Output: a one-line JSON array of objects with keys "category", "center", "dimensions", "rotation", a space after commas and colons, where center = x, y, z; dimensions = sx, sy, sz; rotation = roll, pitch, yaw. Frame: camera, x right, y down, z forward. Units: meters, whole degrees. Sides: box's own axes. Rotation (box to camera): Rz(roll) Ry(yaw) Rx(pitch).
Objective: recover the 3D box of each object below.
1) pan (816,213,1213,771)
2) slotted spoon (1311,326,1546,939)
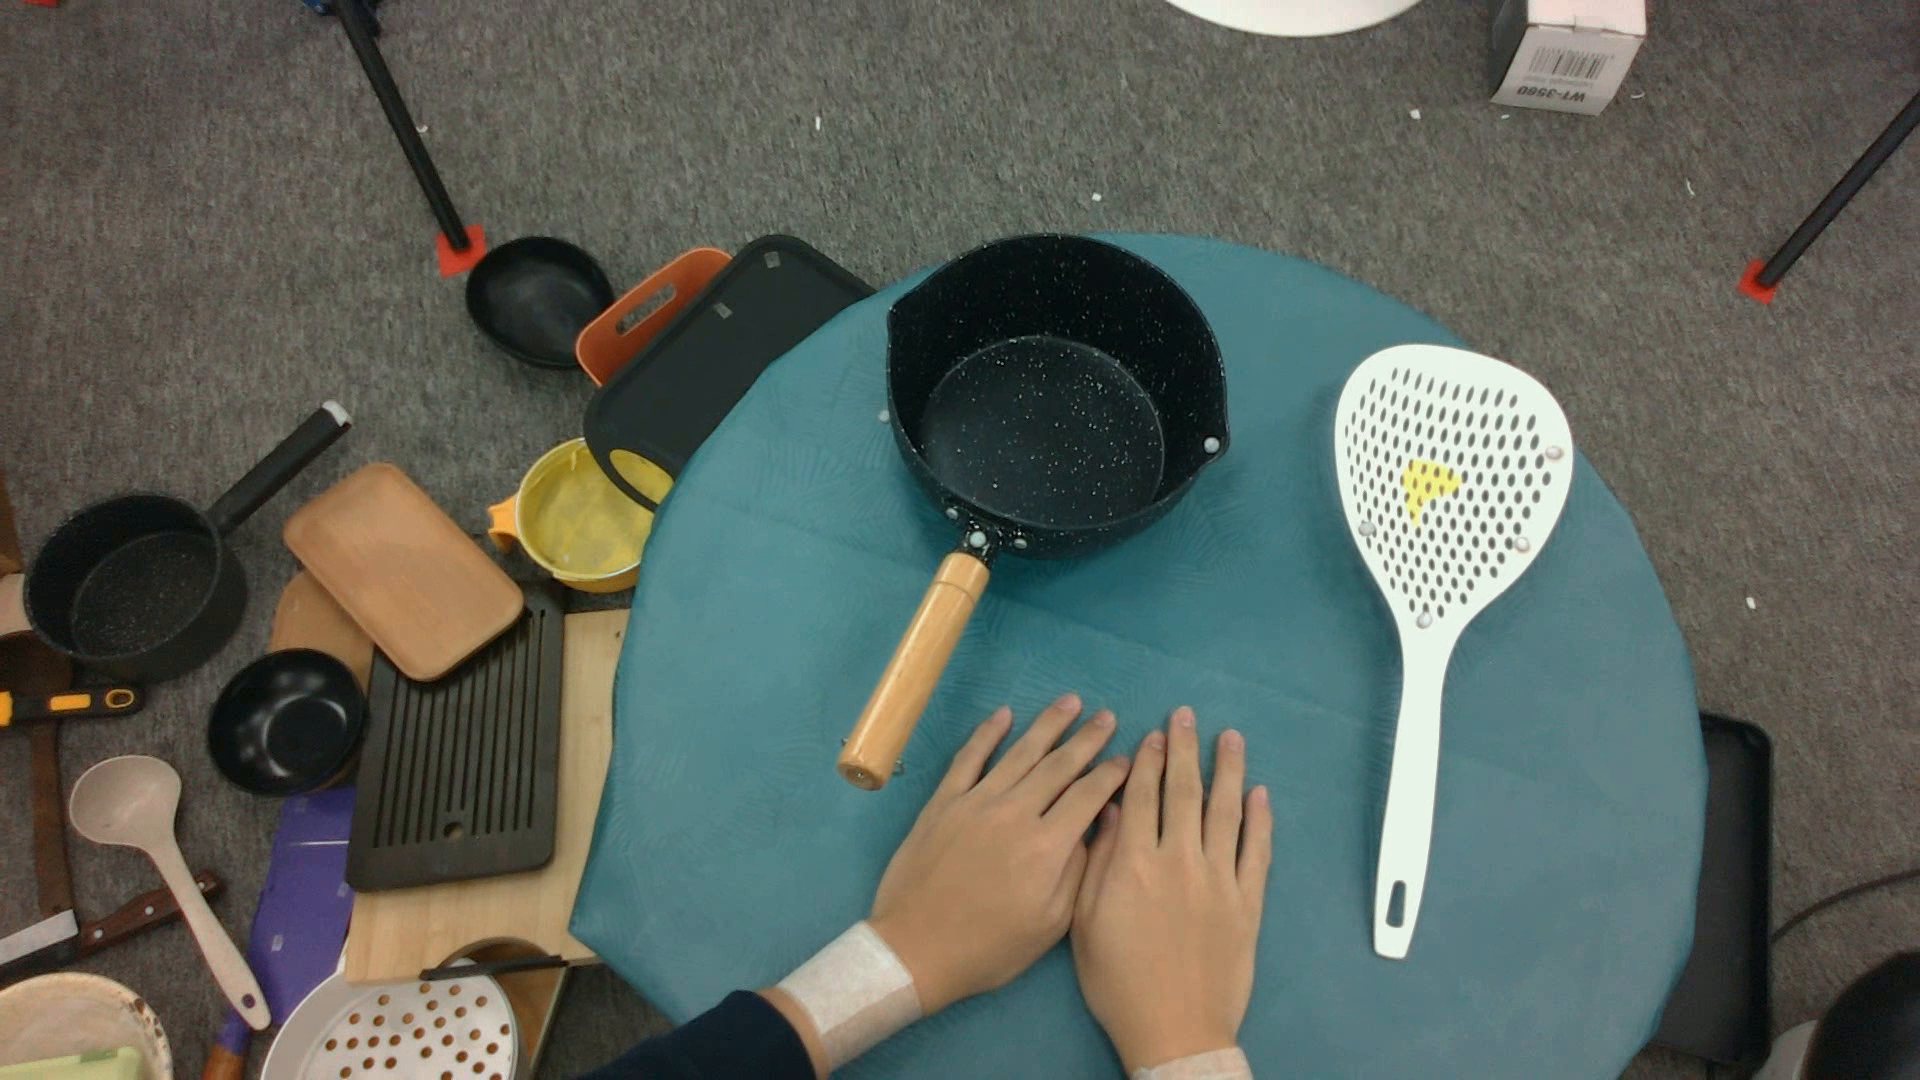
[{"category": "pan", "center": [0.010, -0.020, 0.737], "dimensions": [0.207, 0.108, 0.344], "rotation": [22, 66, 5]}, {"category": "slotted spoon", "center": [0.246, 0.040, 0.761], "dimensions": [0.137, 0.050, 0.349], "rotation": [12, 65, 0]}]
